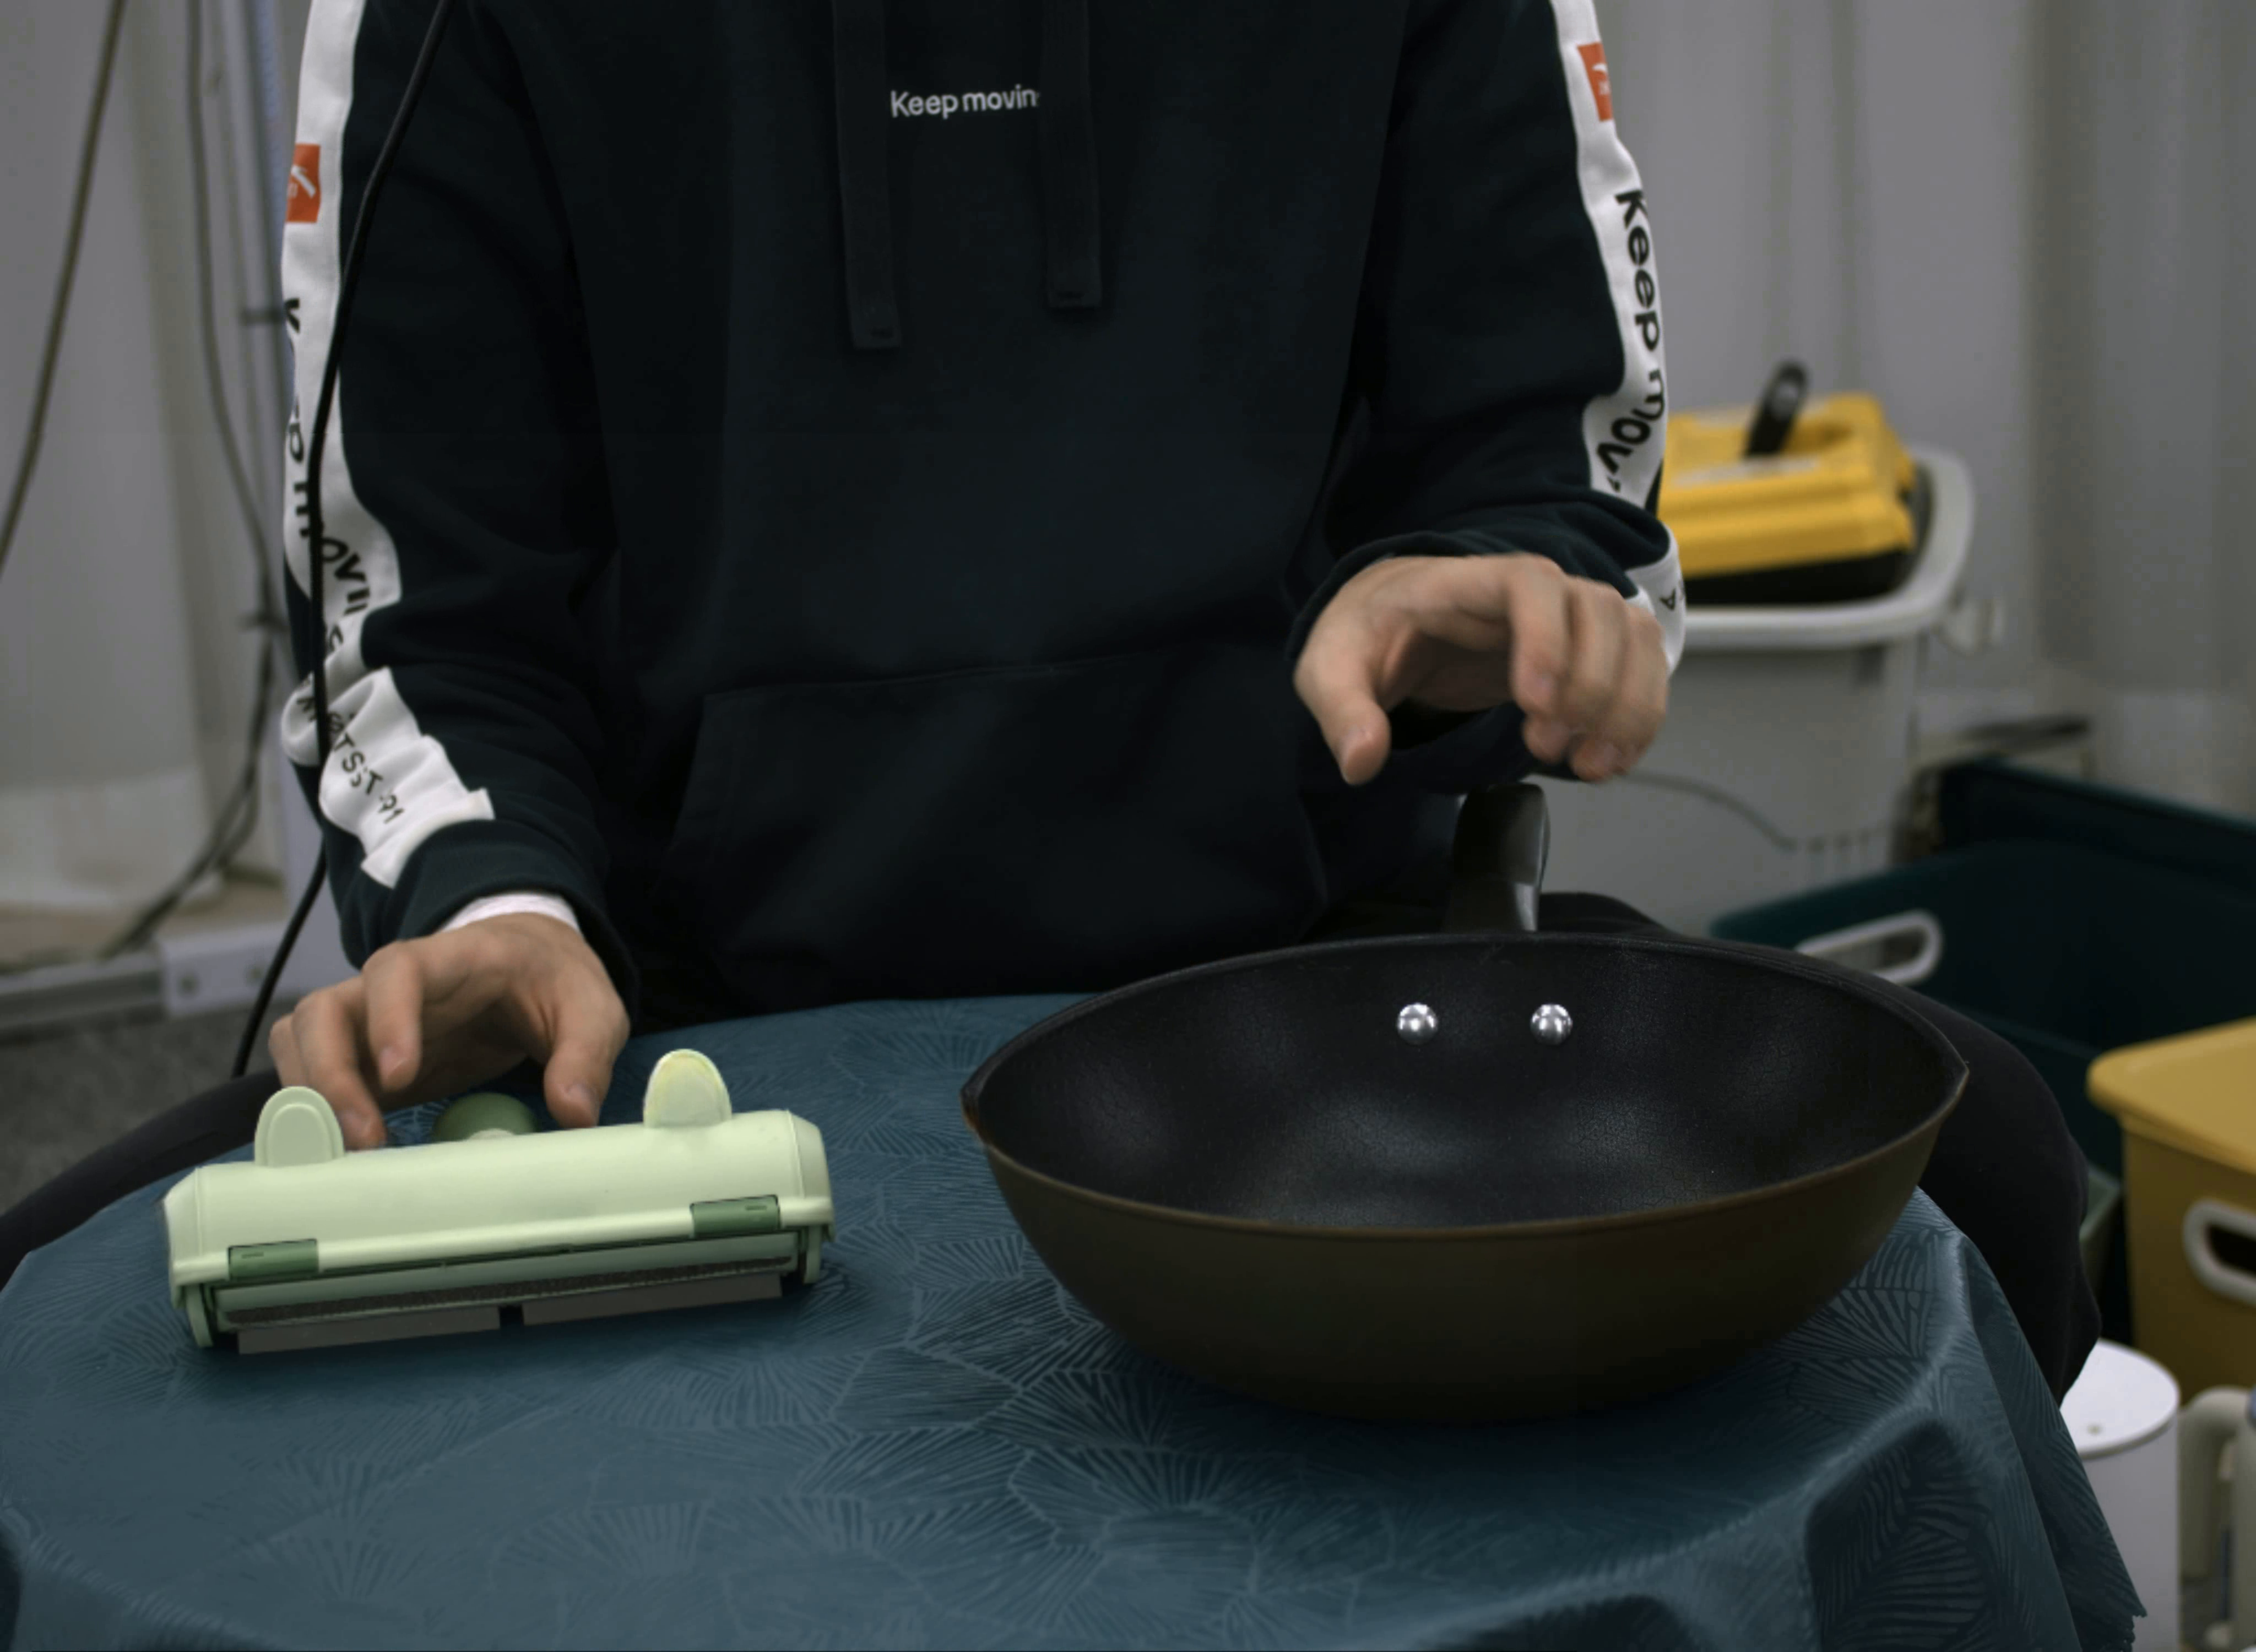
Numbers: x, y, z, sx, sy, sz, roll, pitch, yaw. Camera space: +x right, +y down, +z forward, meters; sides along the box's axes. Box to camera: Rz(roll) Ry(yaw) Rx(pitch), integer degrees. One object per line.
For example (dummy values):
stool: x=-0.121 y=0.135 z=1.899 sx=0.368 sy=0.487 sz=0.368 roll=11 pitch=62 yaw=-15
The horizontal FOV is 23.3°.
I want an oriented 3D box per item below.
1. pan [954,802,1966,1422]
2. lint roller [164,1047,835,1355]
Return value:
pan: x=0.103 y=0.084 z=1.650 sx=0.287 sy=0.086 sz=0.466 roll=-1 pitch=14 yaw=6
lint roller: x=-0.196 y=0.096 z=1.681 sx=0.198 sy=0.081 sz=0.185 roll=-6 pitch=20 yaw=-8
